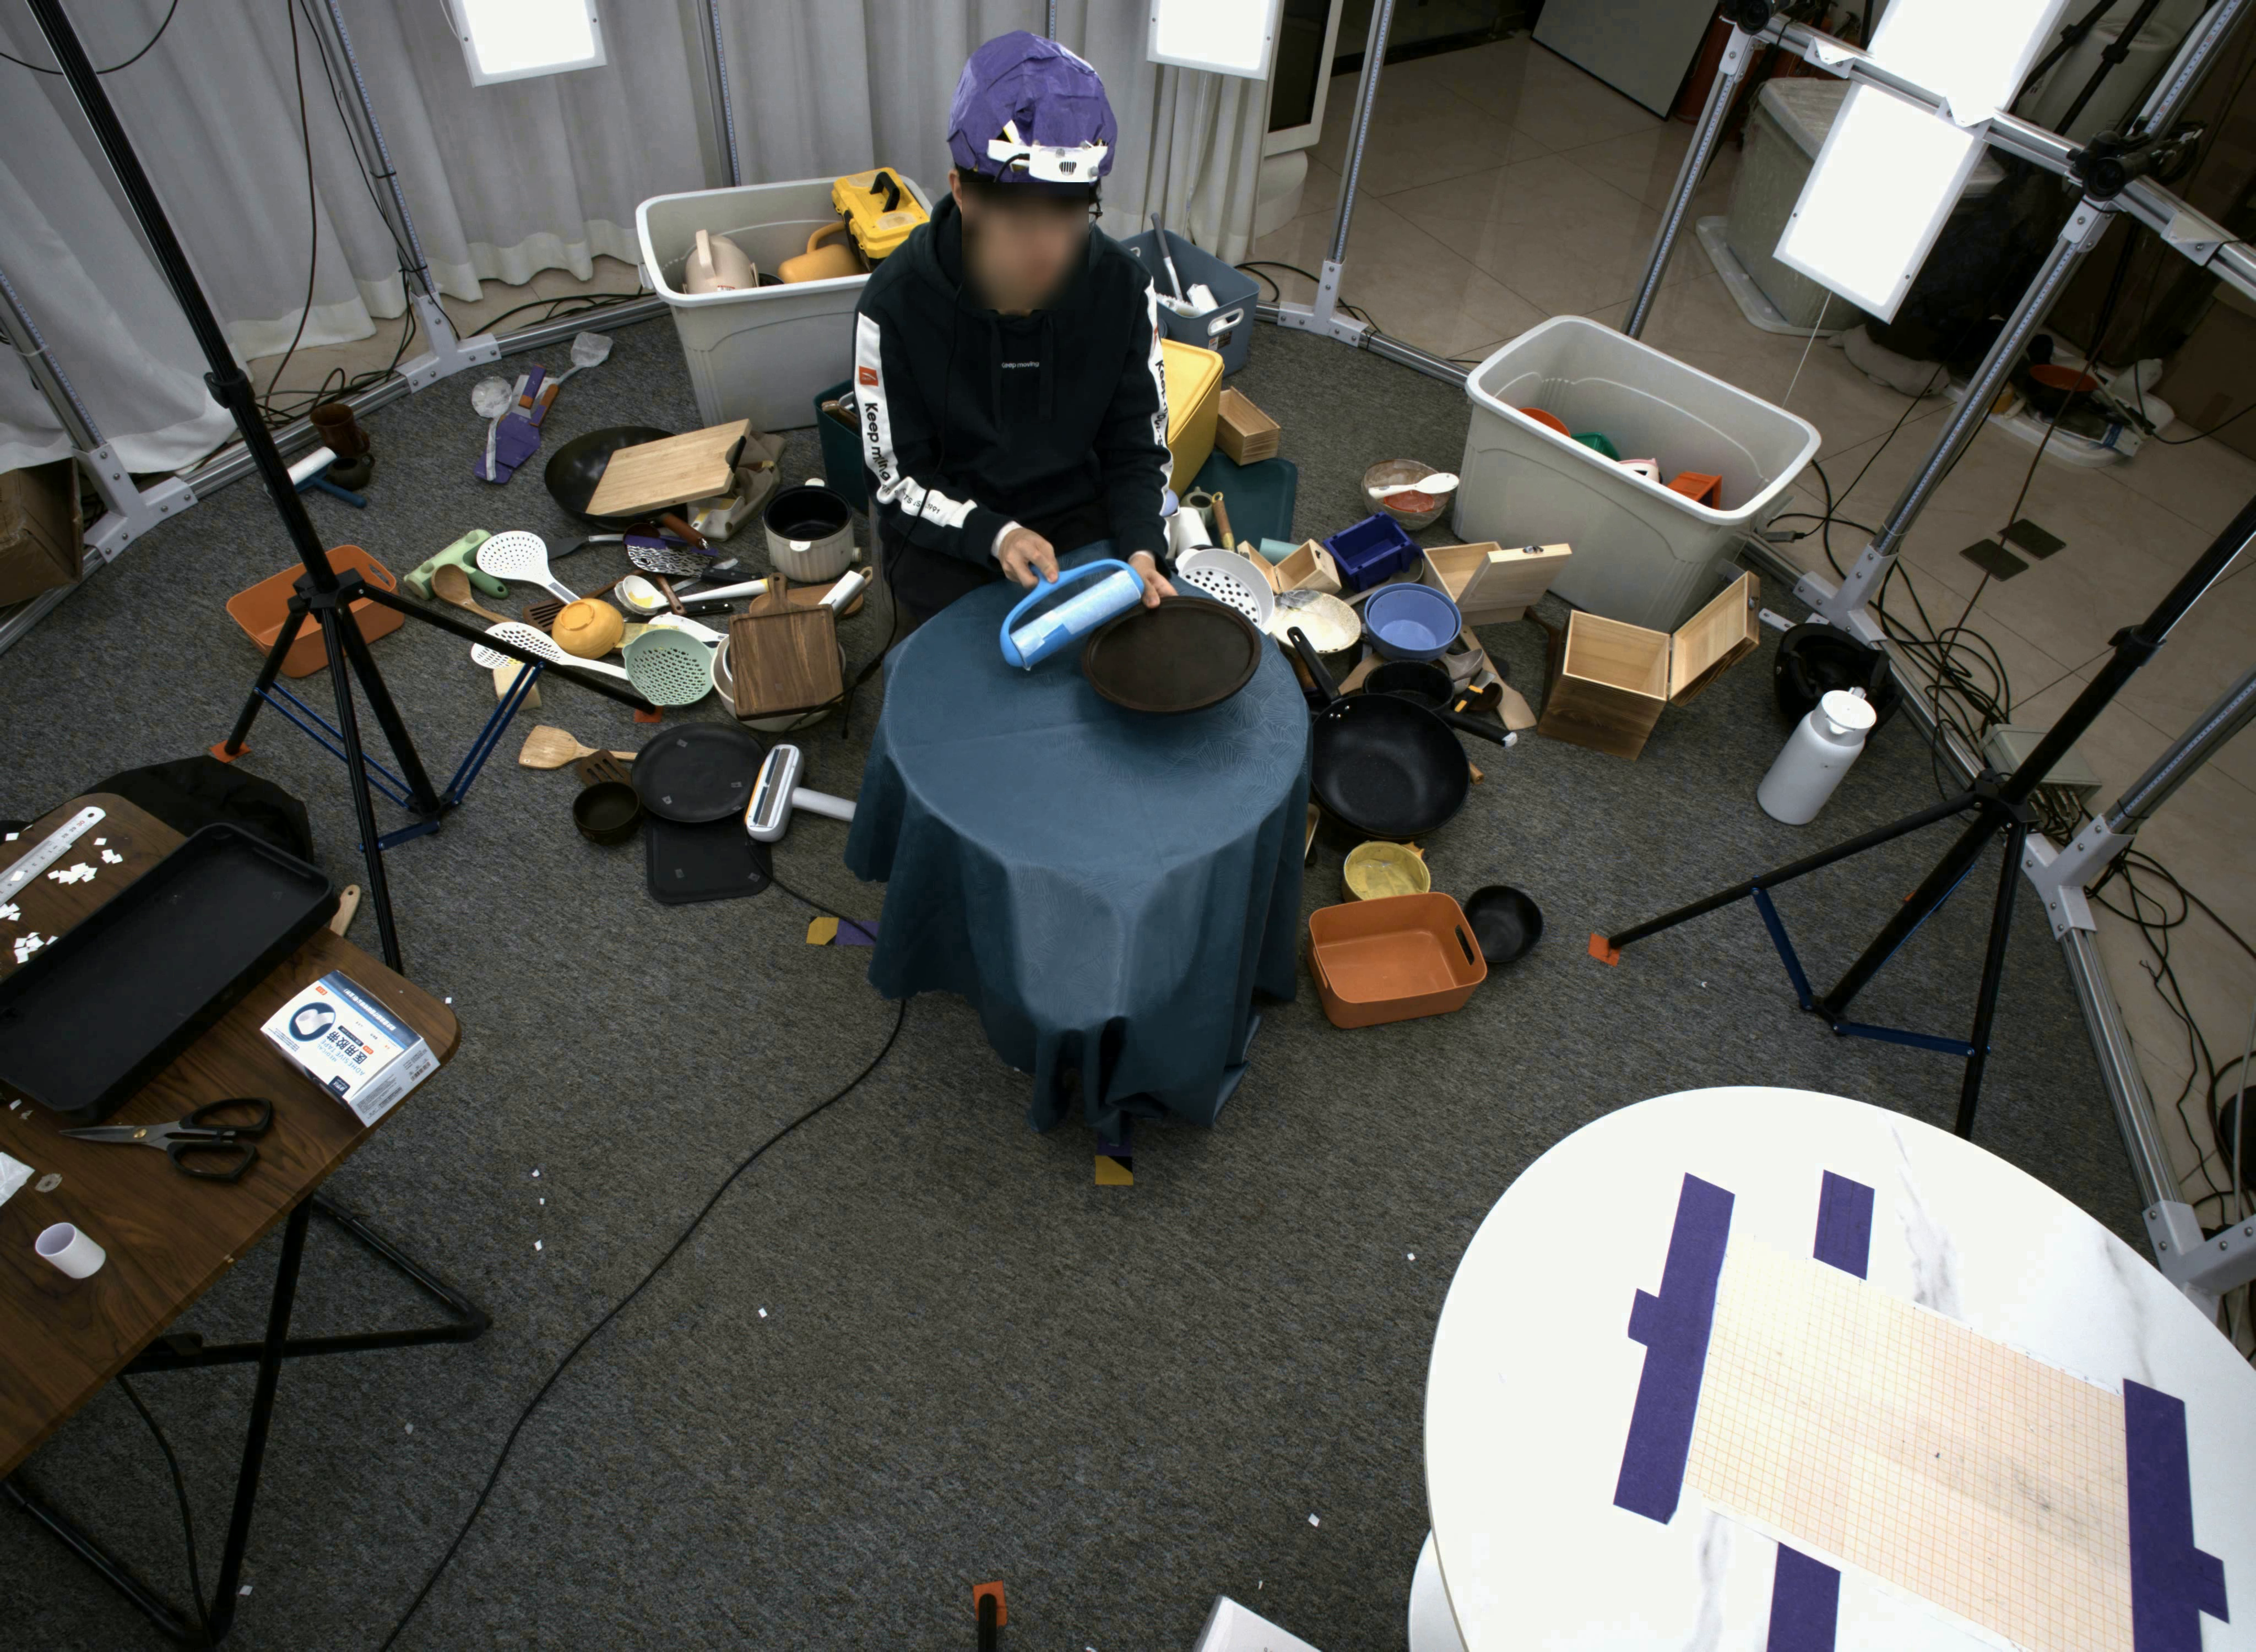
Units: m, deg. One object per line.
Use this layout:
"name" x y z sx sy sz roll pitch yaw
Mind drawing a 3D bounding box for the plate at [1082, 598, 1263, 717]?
"plate" 0.062 -0.238 1.798 0.255 0.028 0.261 -4 45 4

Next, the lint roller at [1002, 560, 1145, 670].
"lint roller" -0.108 -0.336 1.866 0.229 0.066 0.184 -35 60 -10
